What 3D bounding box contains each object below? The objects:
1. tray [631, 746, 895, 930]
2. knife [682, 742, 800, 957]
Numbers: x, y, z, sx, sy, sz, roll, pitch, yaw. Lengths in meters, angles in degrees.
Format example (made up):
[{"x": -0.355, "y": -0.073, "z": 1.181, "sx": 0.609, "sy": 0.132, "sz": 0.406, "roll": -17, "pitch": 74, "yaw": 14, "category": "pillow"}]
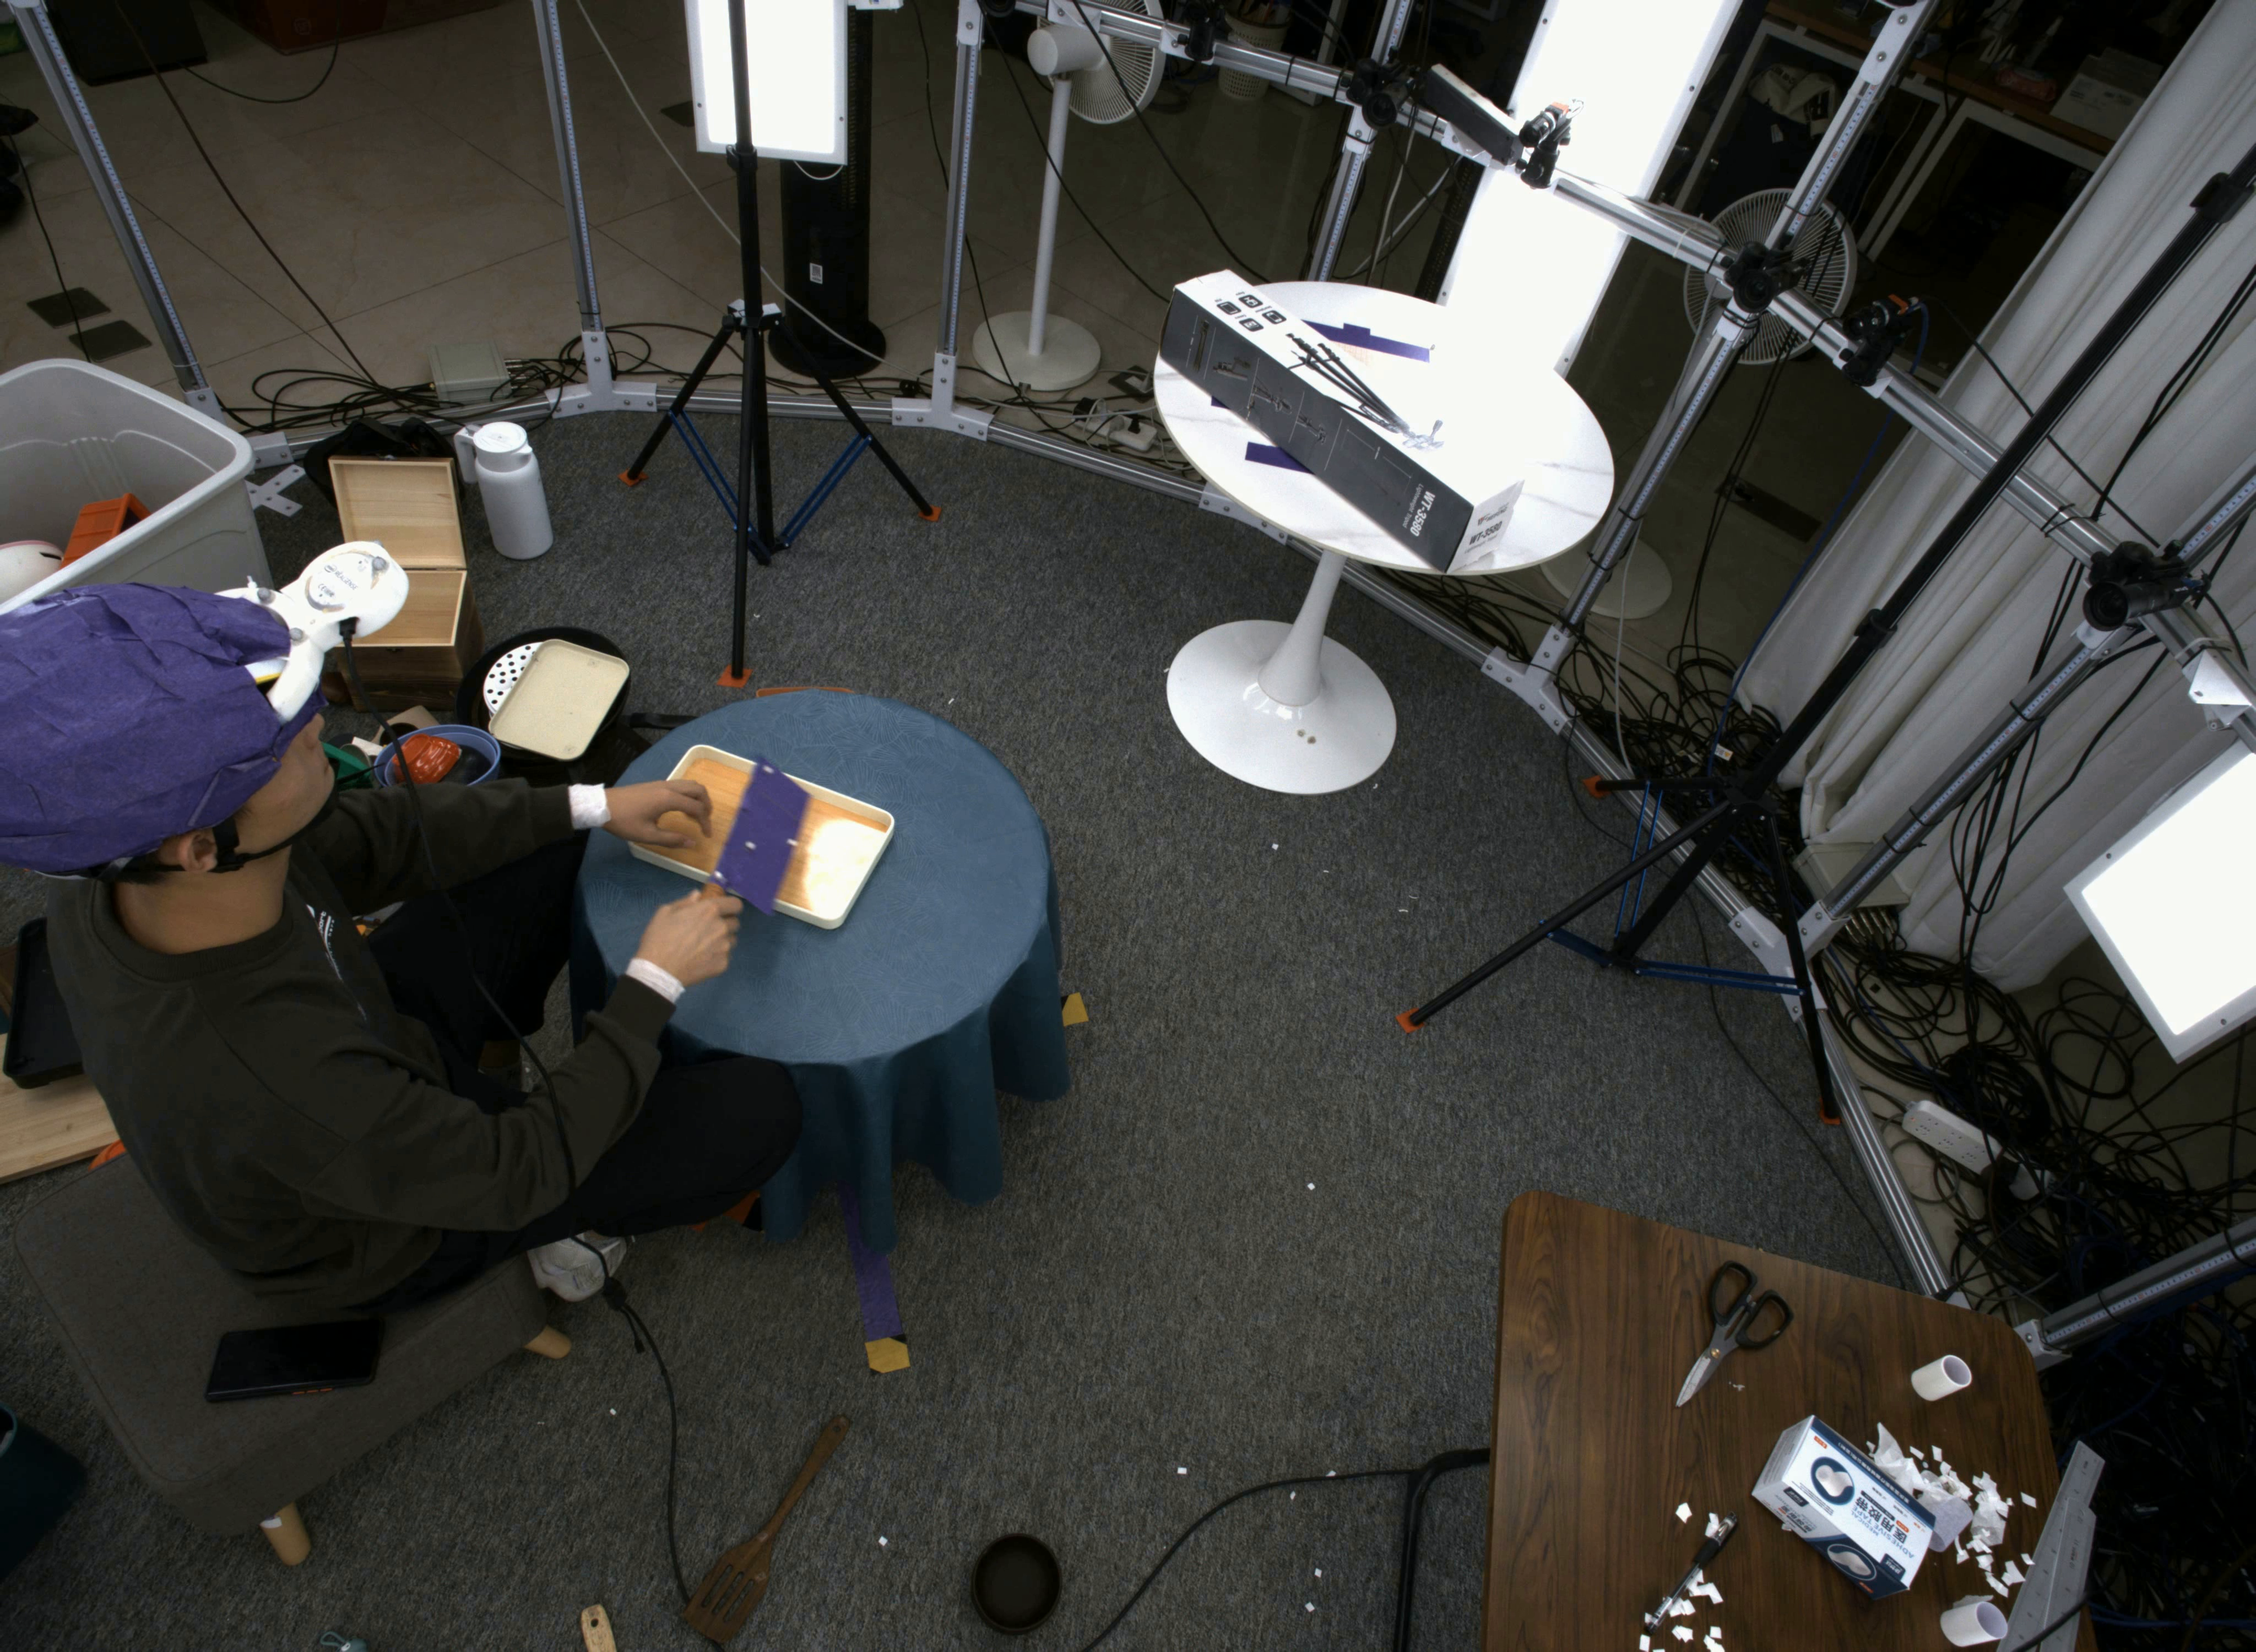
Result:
[{"x": -0.476, "y": 0.011, "z": 1.695, "sx": 0.297, "sy": 0.028, "sz": 0.189, "roll": 20, "pitch": 51, "yaw": 1, "category": "tray"}, {"x": -0.453, "y": 0.037, "z": 1.549, "sx": 0.107, "sy": 0.031, "sz": 0.310, "roll": 45, "pitch": 36, "yaw": -36, "category": "knife"}]
